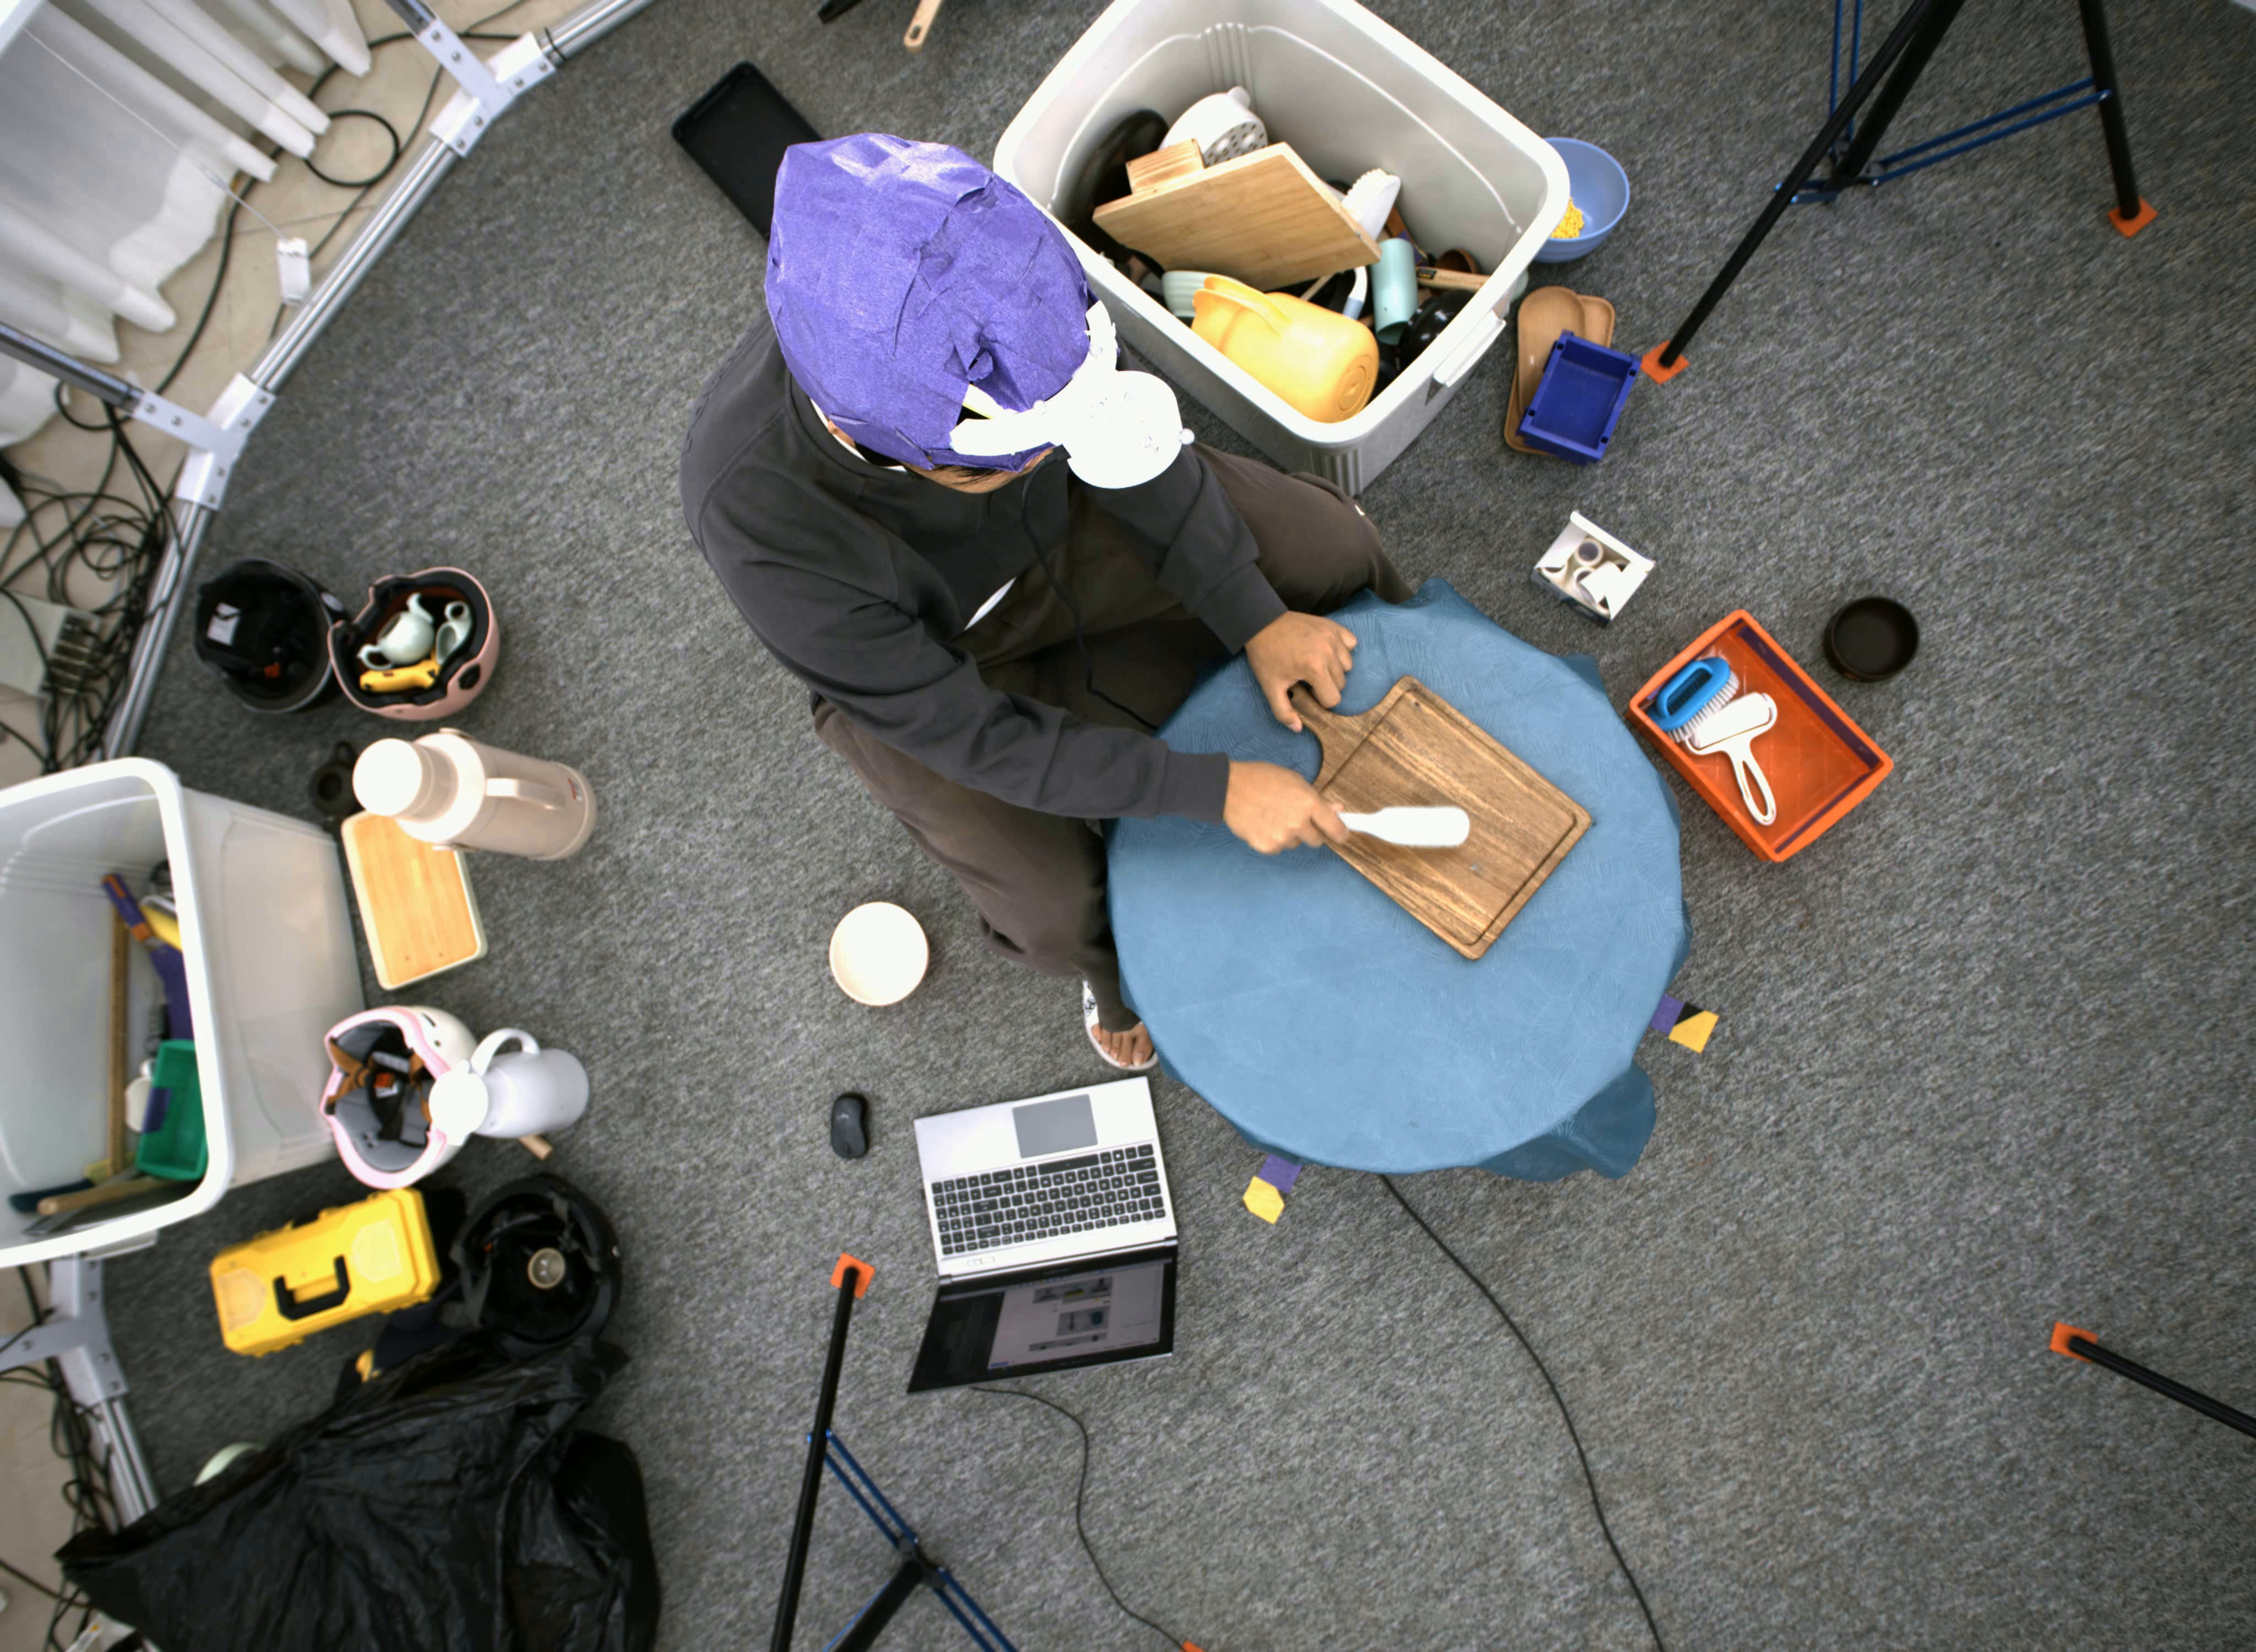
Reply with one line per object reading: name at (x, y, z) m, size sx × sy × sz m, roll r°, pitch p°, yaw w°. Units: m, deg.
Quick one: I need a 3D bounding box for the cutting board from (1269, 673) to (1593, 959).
cutting board at (0.291, -0.045, 1.453) m, size 0.351 × 0.023 × 0.202 m, roll 40°, pitch 94°, yaw 11°

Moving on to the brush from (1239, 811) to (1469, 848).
brush at (0.227, 0.002, 1.399) m, size 0.229 × 0.050 × 0.037 m, roll 2°, pitch 77°, yaw 7°
